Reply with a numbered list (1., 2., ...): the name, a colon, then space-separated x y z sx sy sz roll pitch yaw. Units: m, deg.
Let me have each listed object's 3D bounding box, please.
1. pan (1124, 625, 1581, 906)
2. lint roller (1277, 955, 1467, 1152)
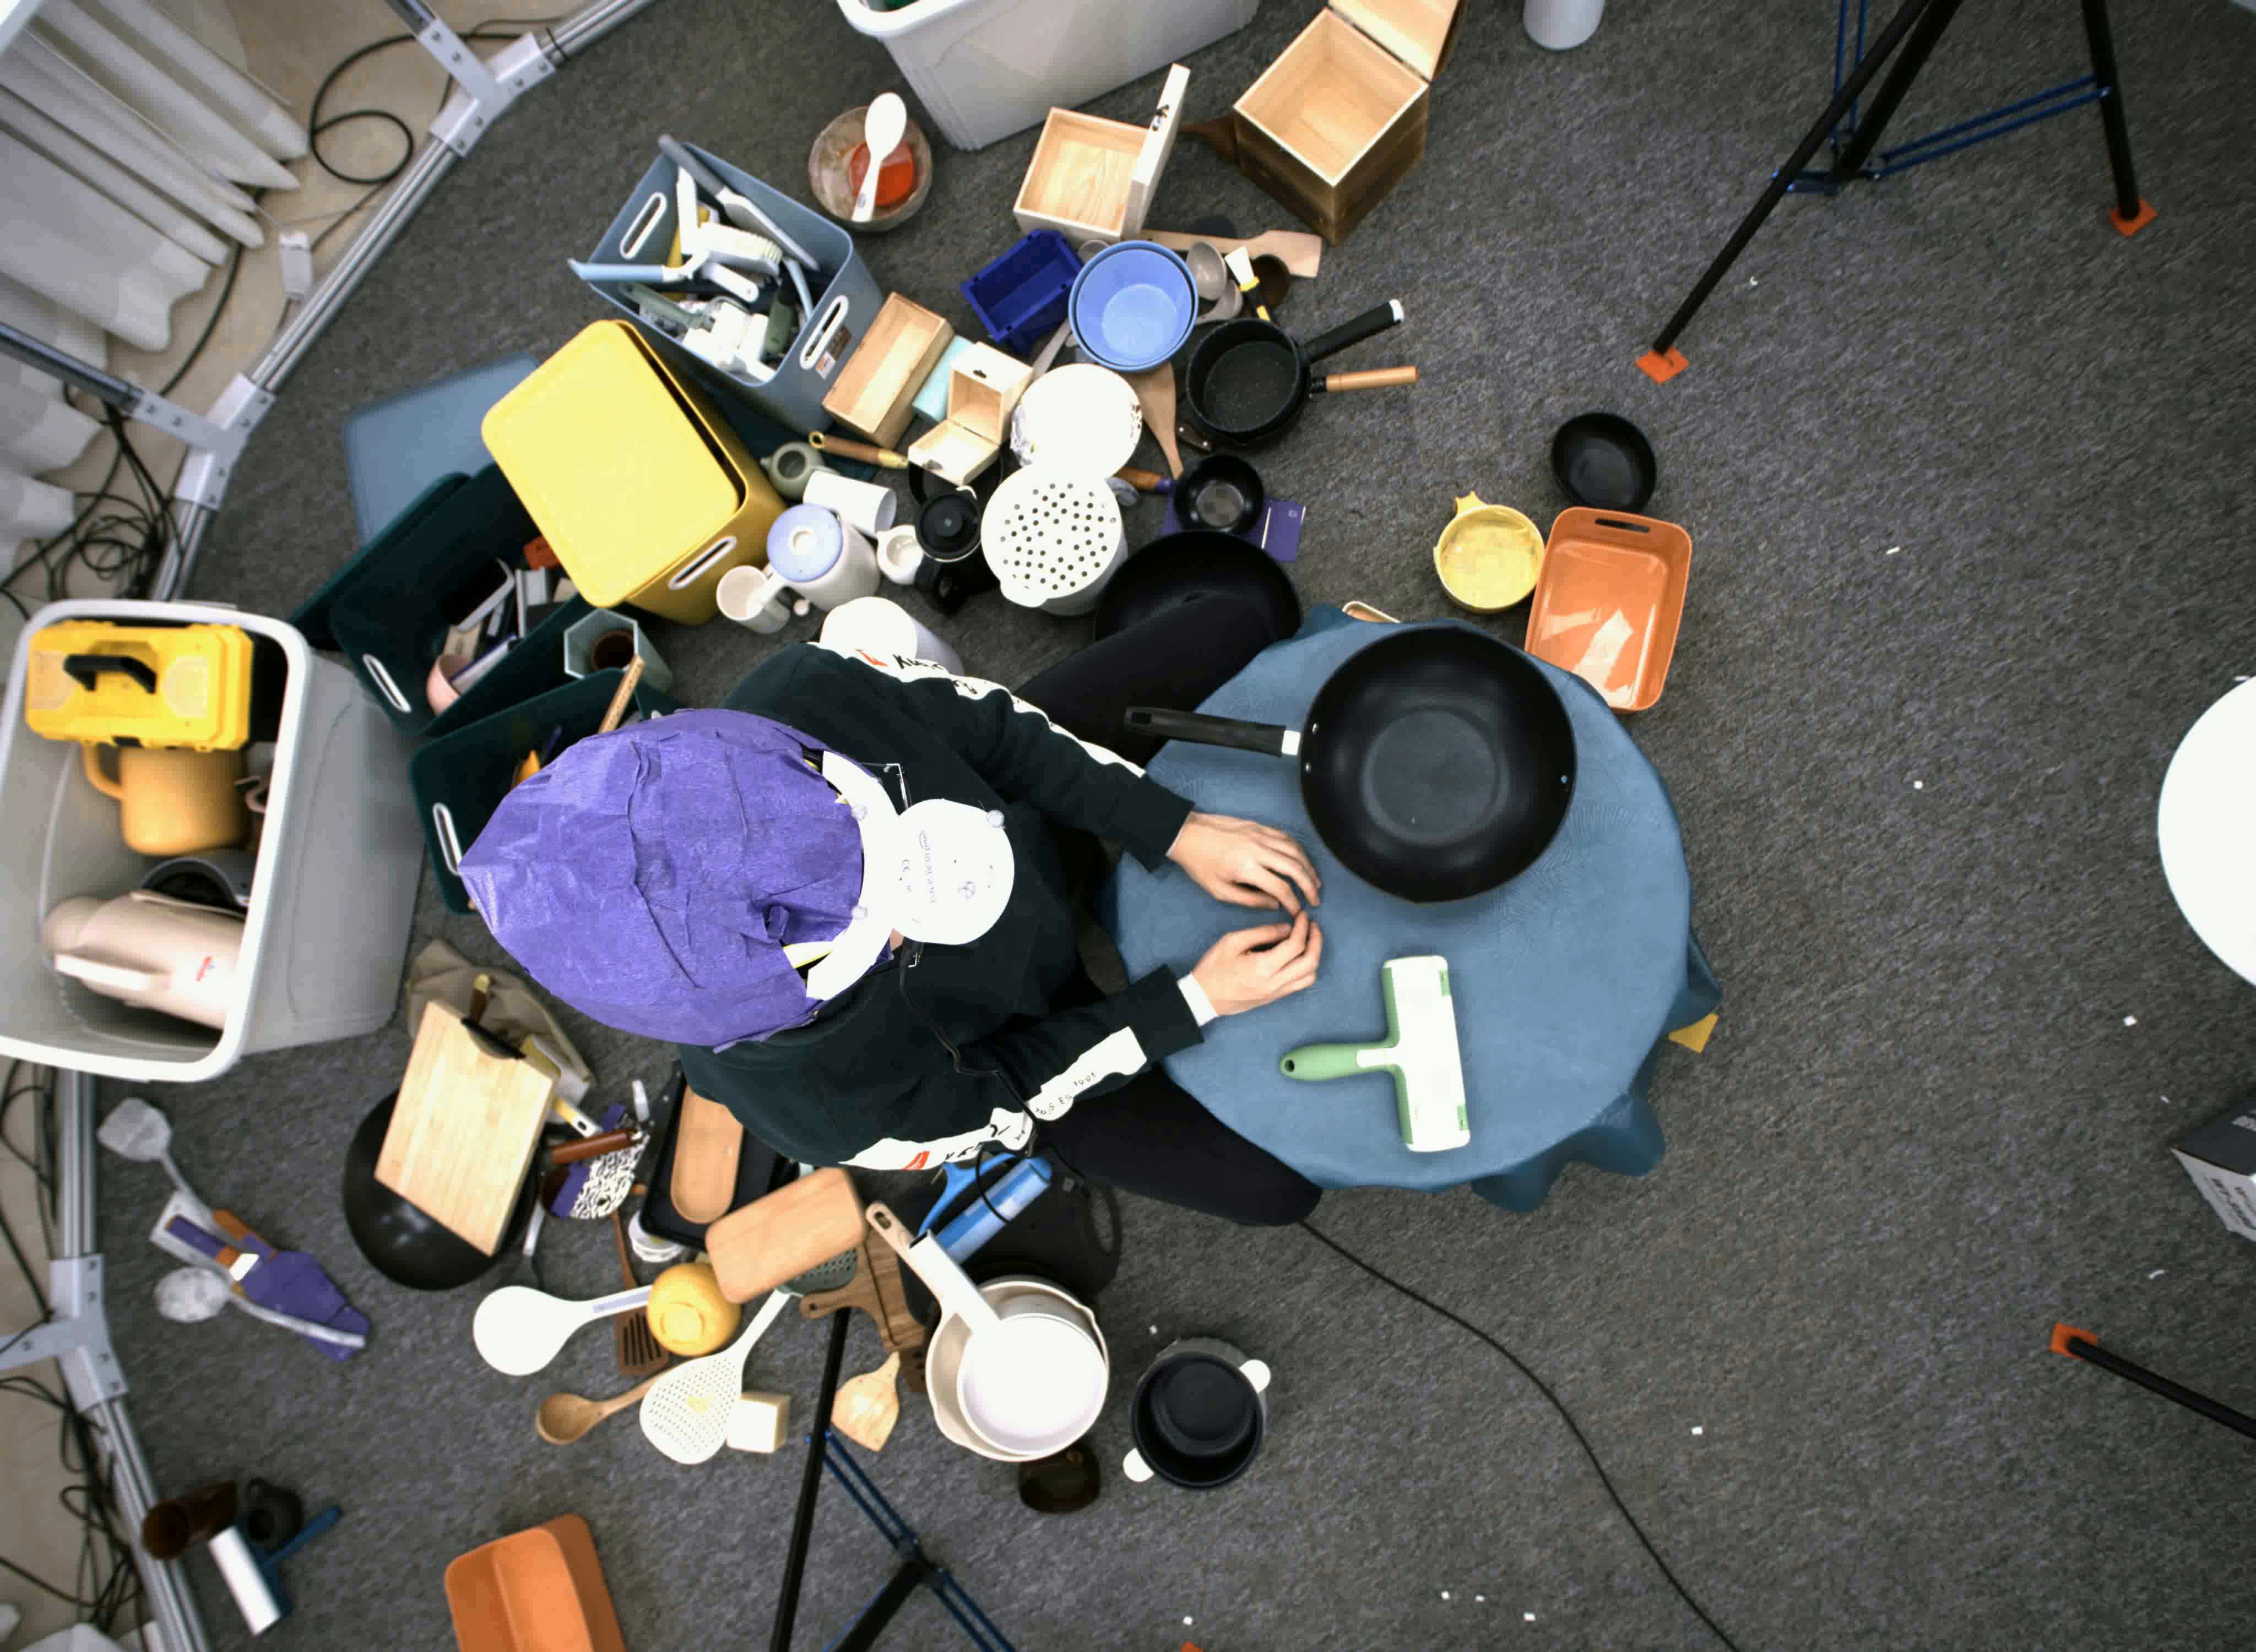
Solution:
1. pan: 0.227 -0.073 1.429 0.464 0.087 0.287 9 88 12
2. lint roller: 0.244 0.236 1.414 0.184 0.082 0.197 -6 86 5
